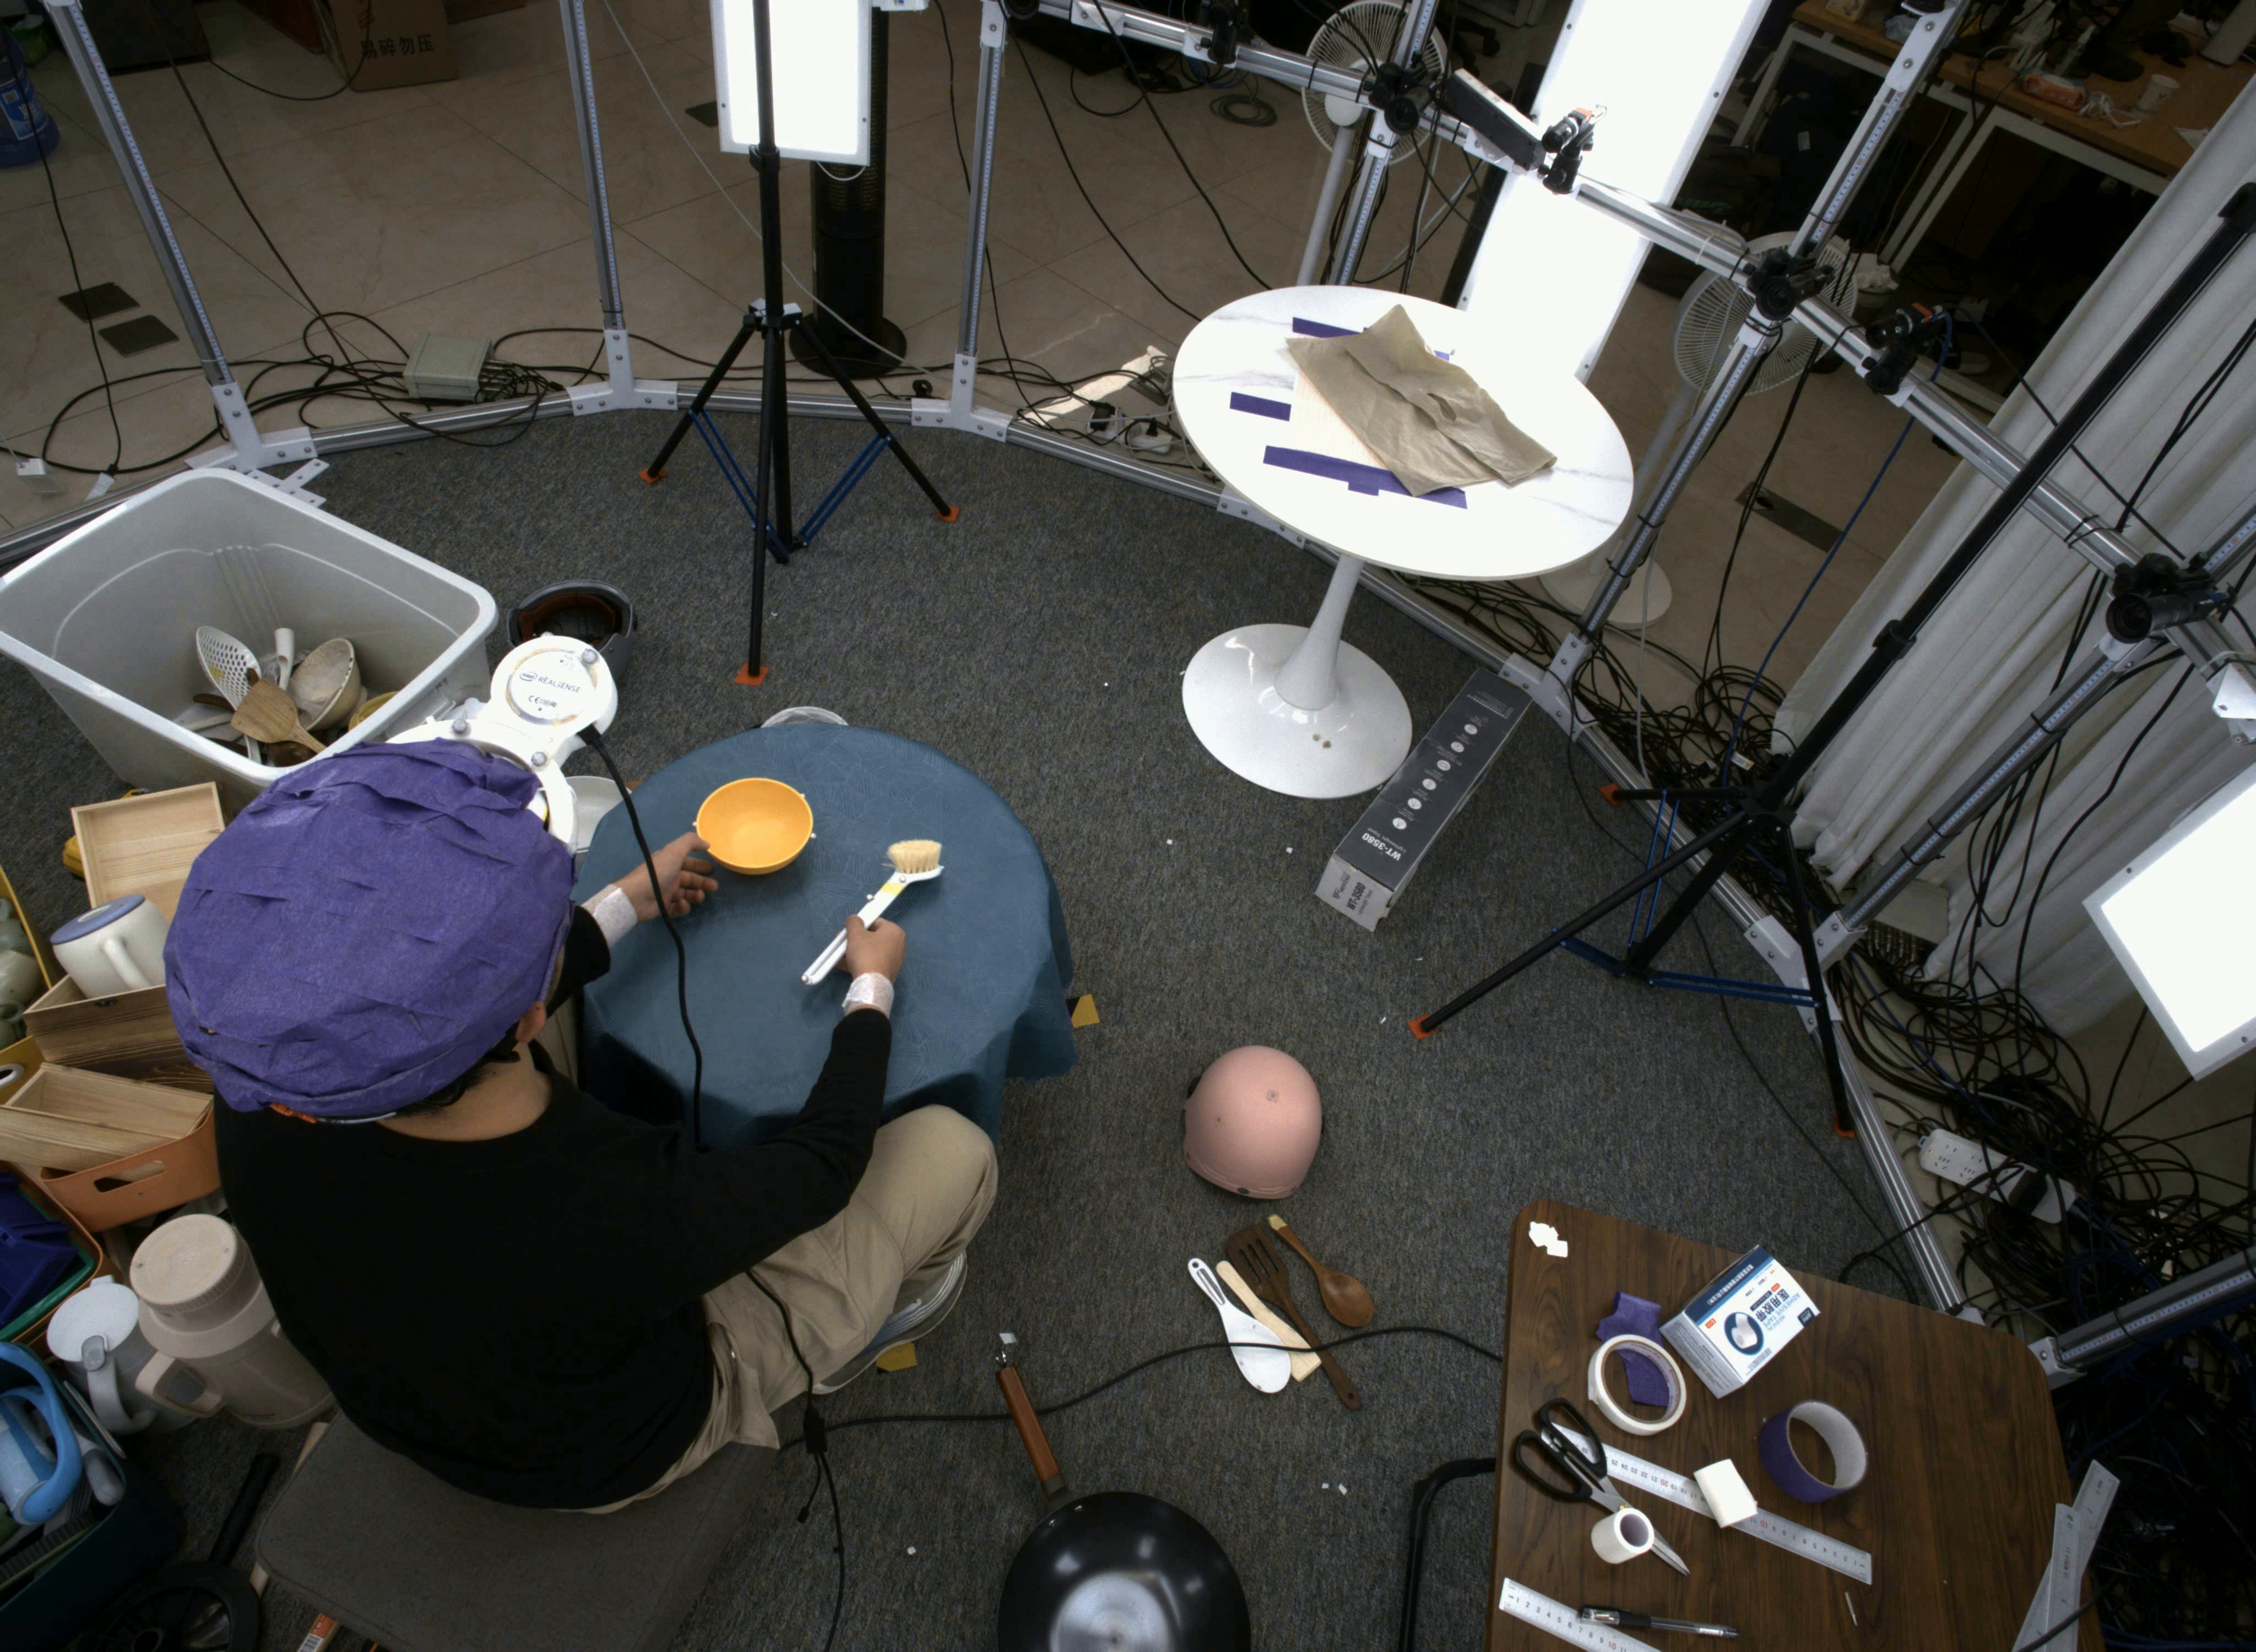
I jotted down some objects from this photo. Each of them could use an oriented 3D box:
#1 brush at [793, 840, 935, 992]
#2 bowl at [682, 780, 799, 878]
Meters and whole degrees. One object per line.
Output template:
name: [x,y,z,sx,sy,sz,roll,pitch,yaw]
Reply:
brush: [-0.332,0.099,1.611,0.066,0.058,0.266,6,37,34]
bowl: [-0.493,0.014,1.653,0.145,0.061,0.143,7,52,-7]
